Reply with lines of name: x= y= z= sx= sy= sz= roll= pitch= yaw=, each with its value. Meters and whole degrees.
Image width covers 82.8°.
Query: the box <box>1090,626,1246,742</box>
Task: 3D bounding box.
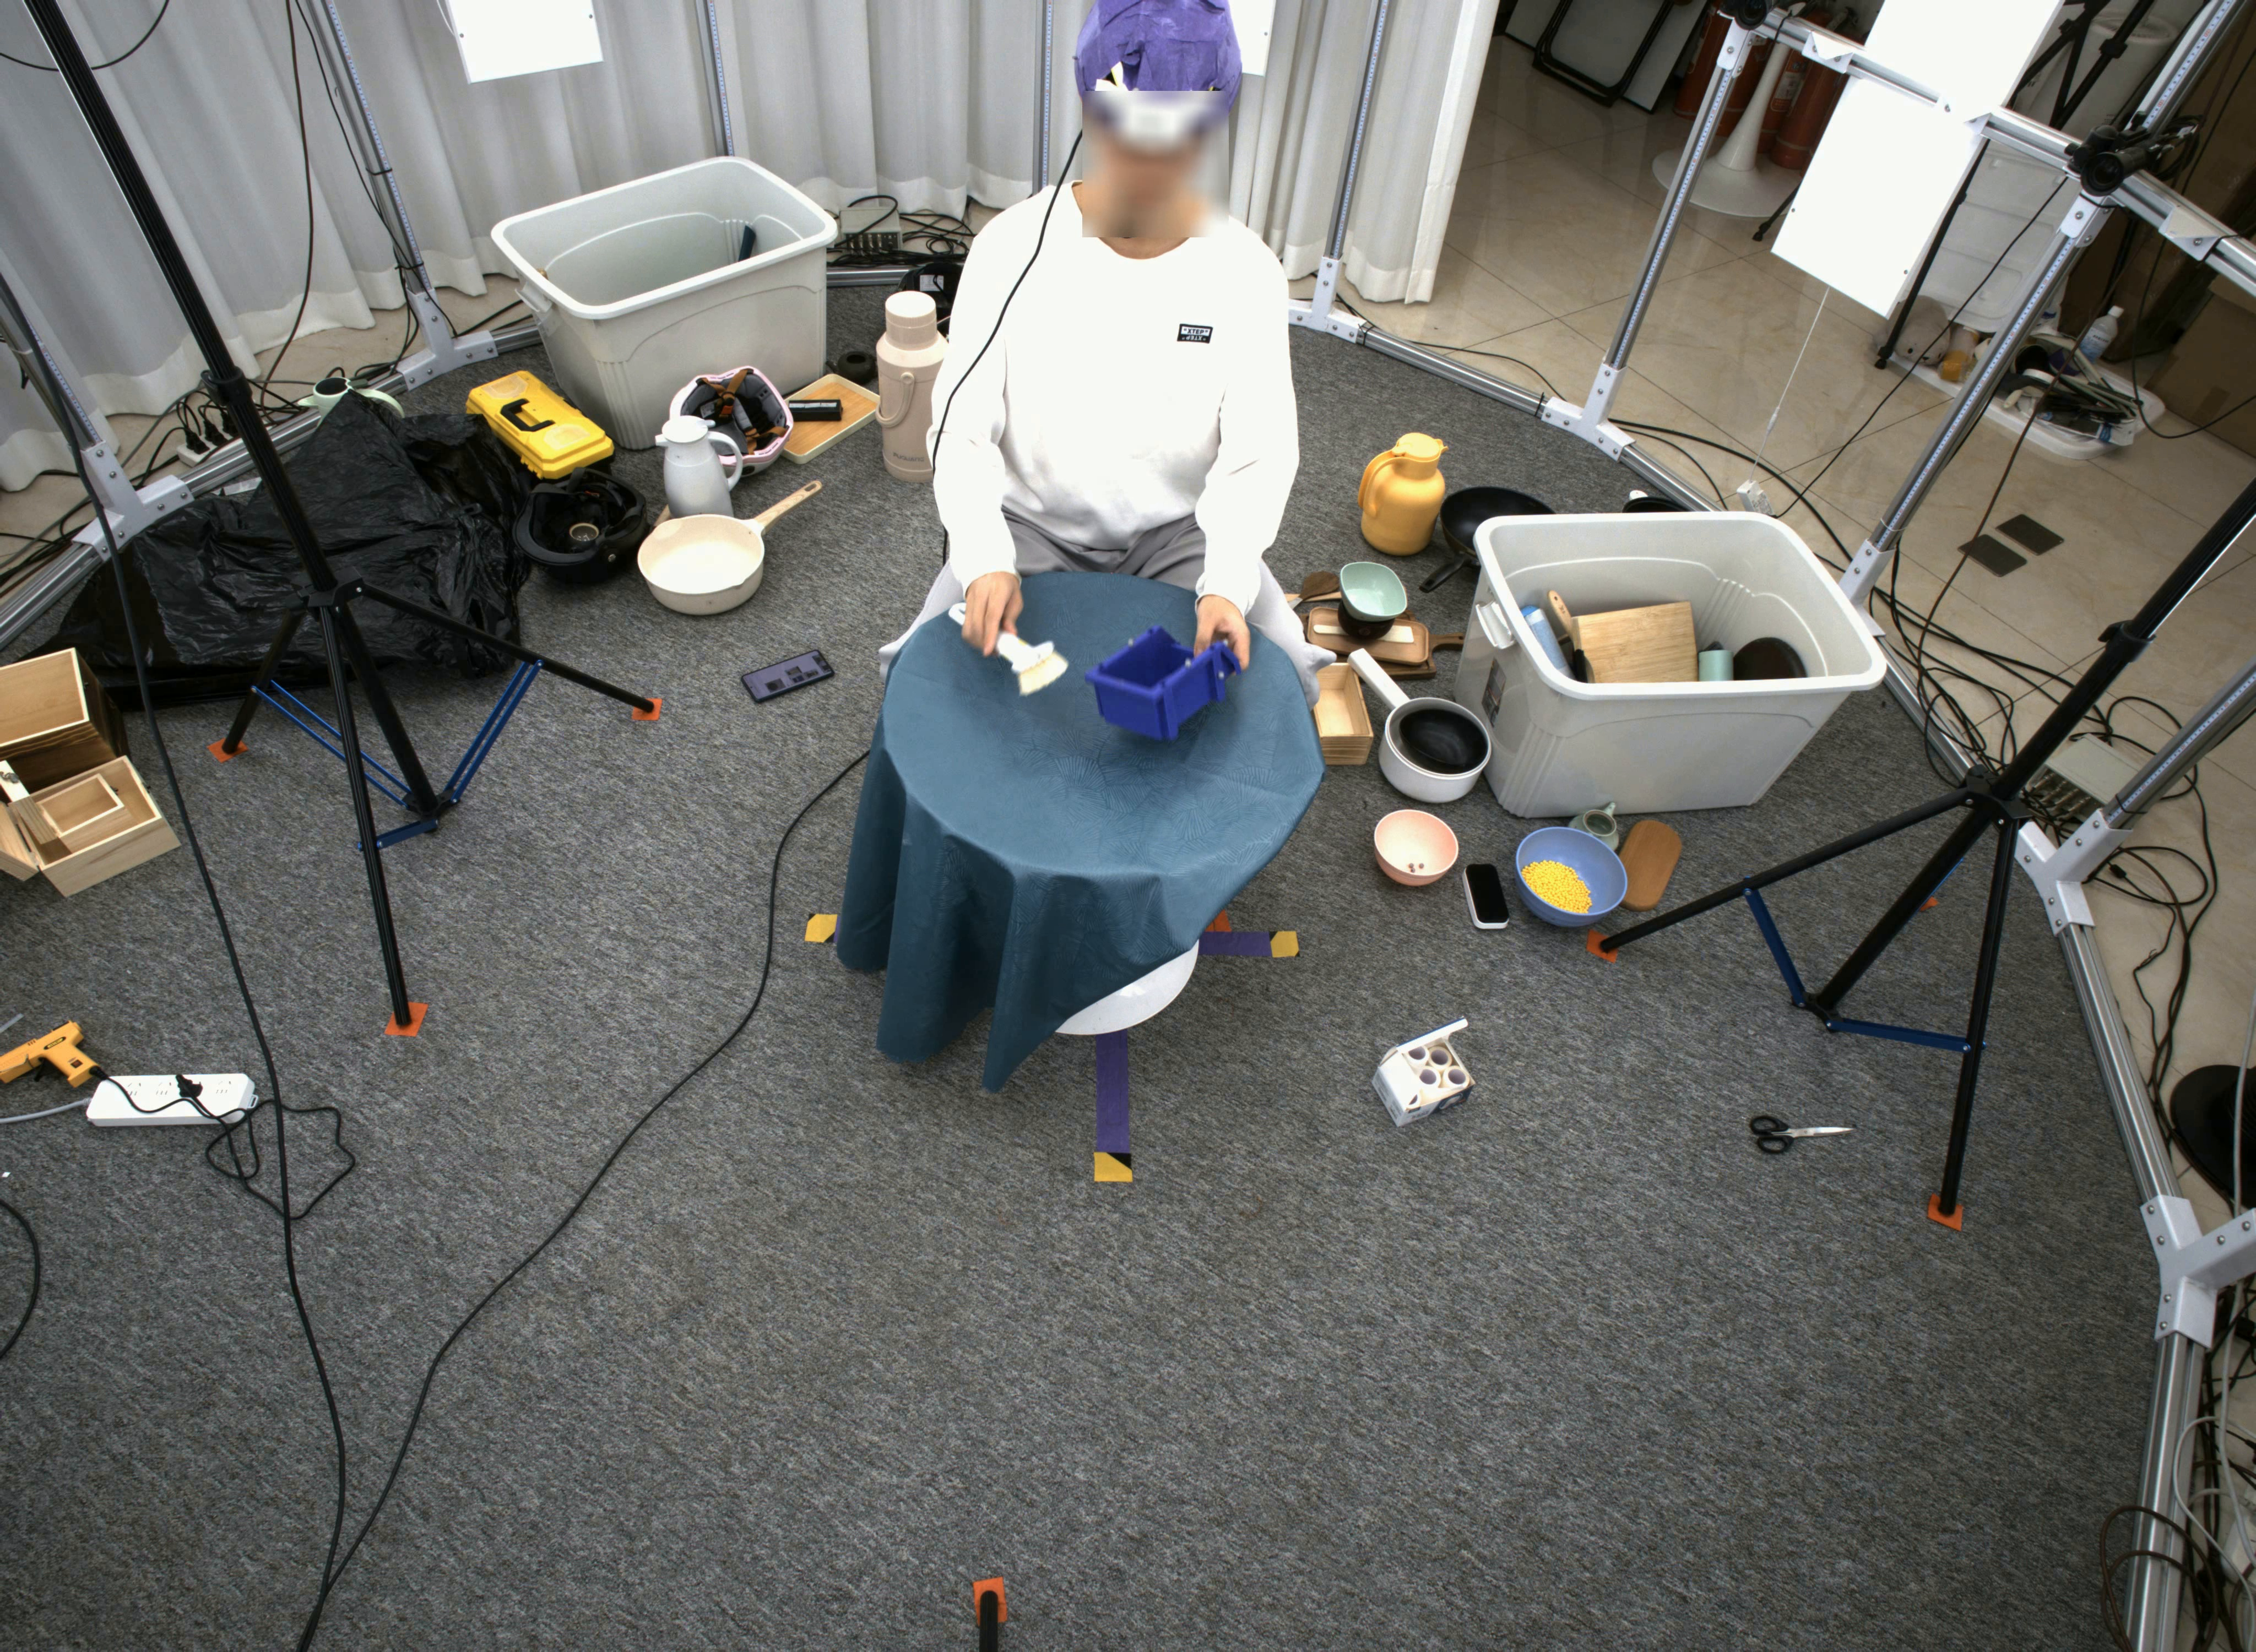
box: x=0.055 y=-0.198 z=1.733 sx=0.126 sy=0.080 sz=0.181 roll=21 pitch=49 yaw=37

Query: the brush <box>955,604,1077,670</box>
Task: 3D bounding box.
brush: x=-0.161 y=-0.262 z=1.772 sx=0.069 sy=0.055 sz=0.270 roll=-24 pitch=28 yaw=-28
